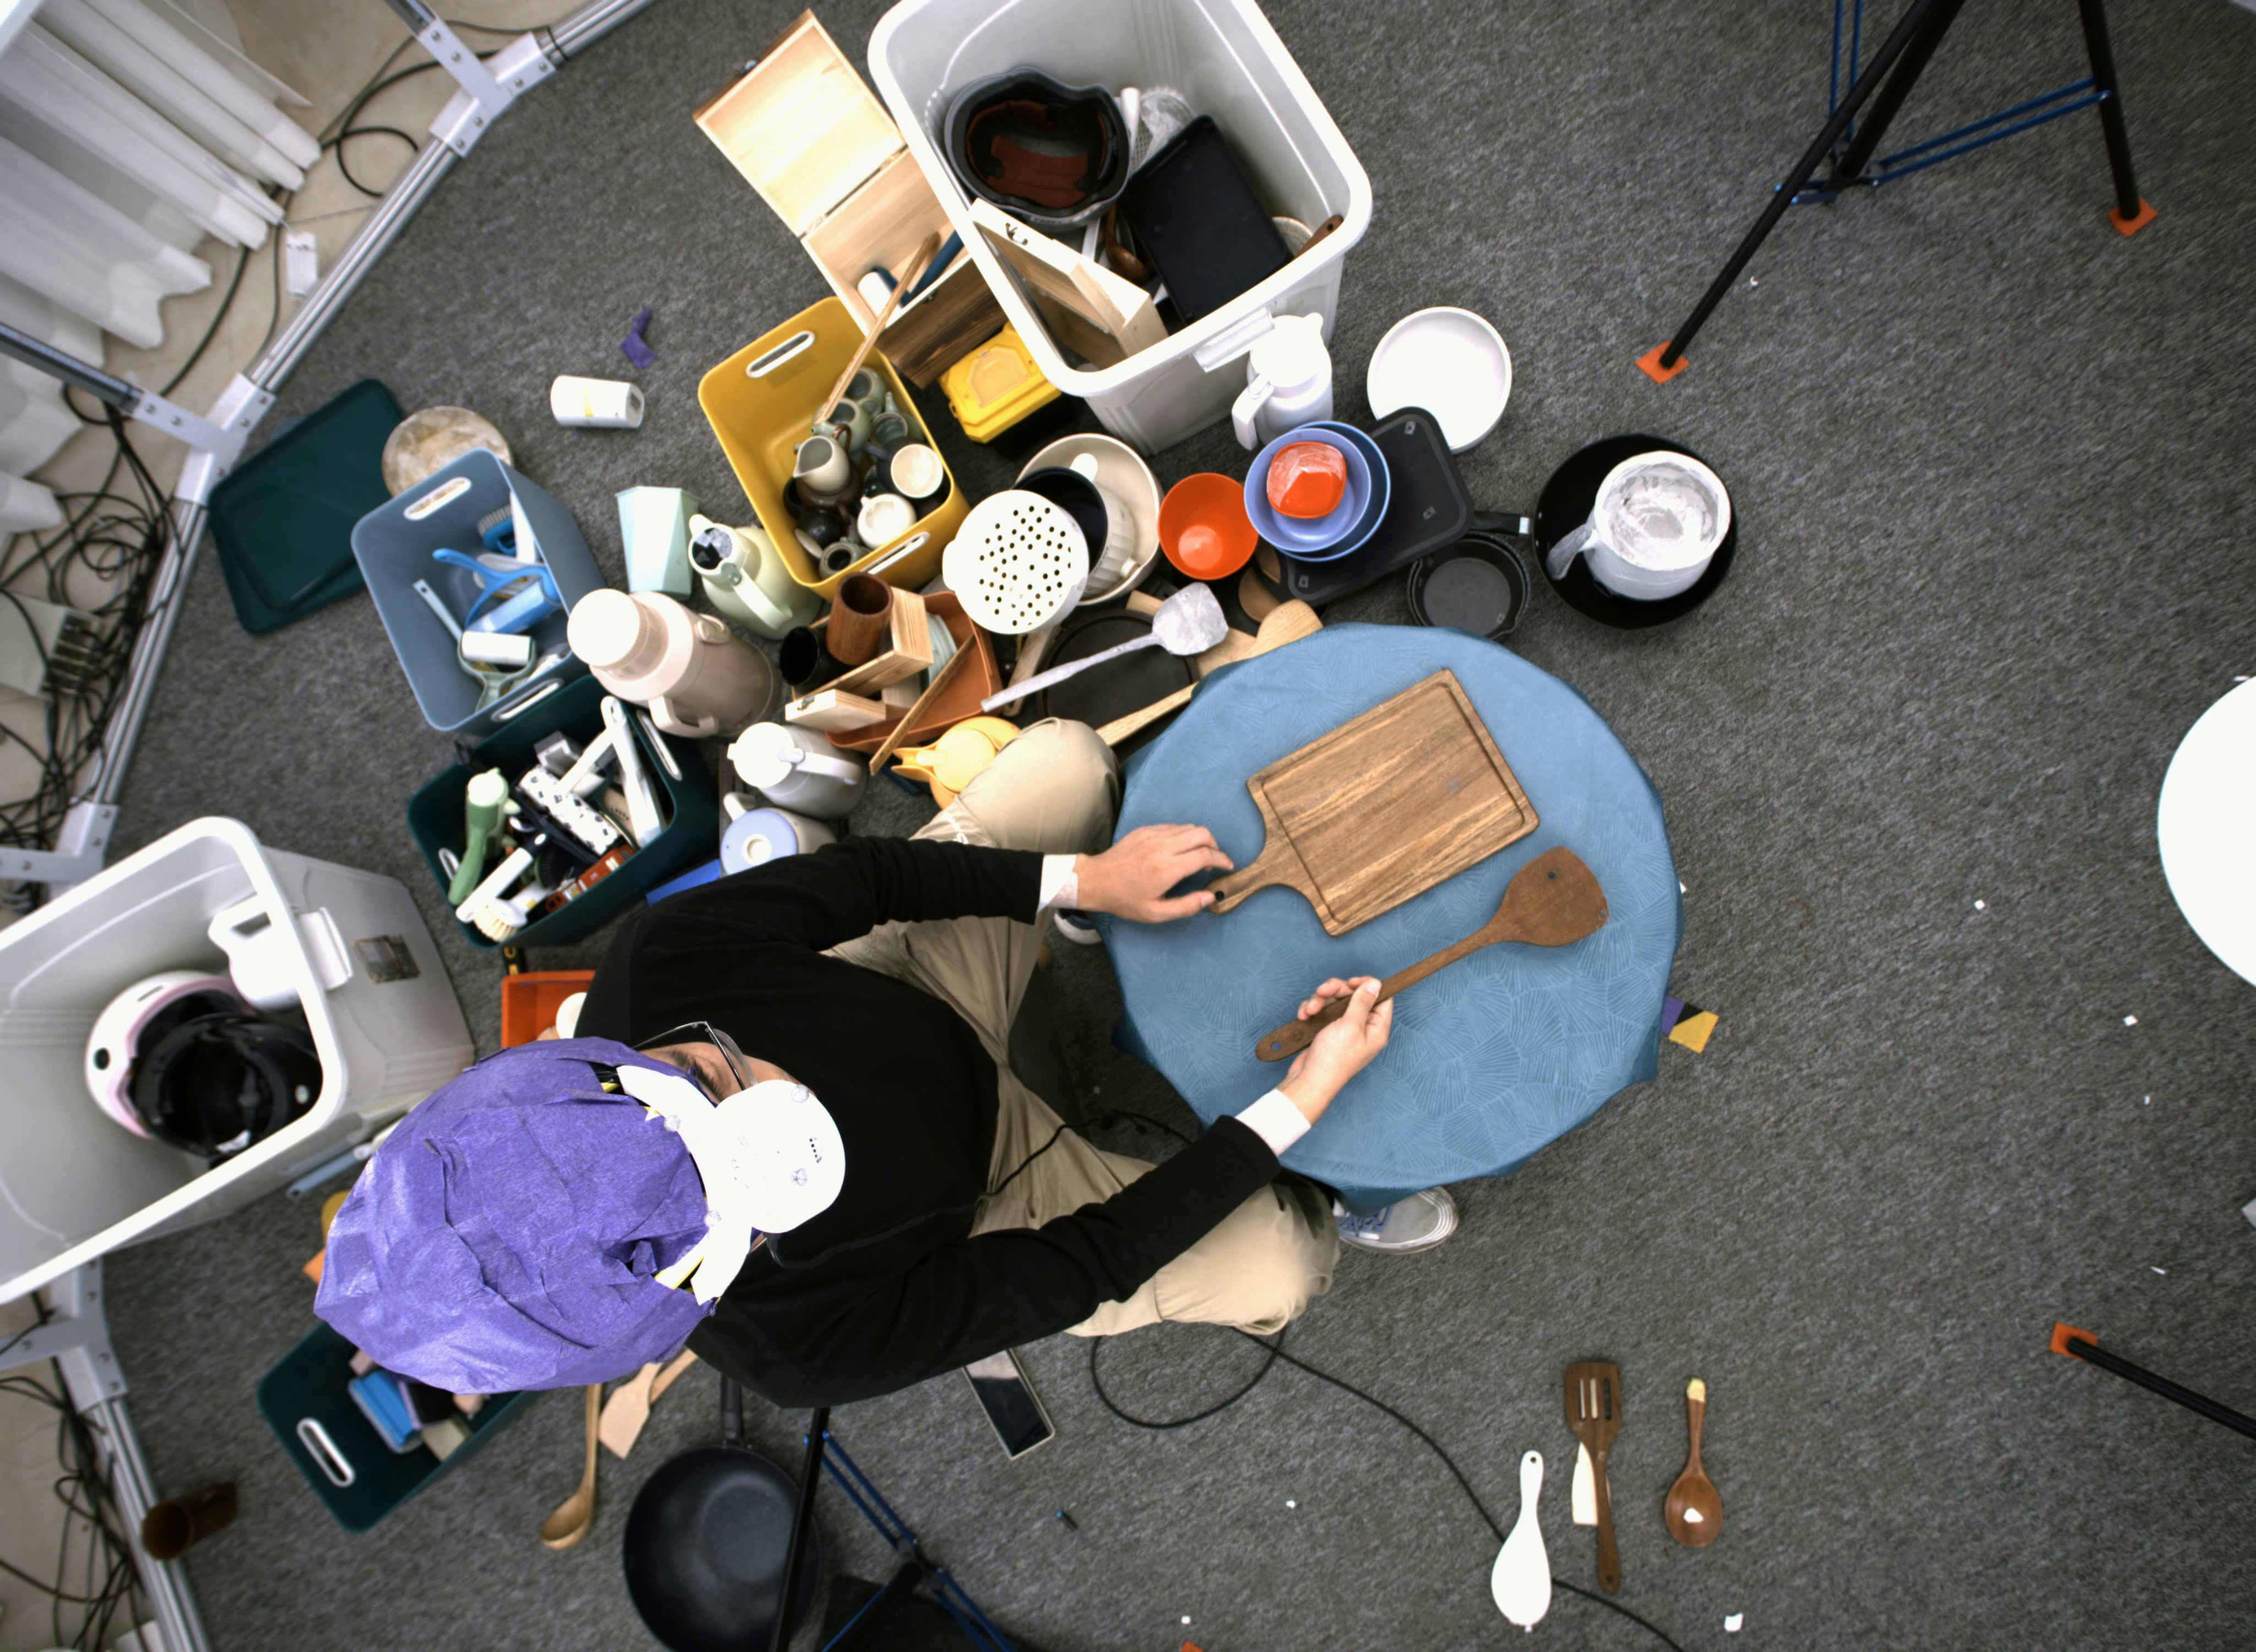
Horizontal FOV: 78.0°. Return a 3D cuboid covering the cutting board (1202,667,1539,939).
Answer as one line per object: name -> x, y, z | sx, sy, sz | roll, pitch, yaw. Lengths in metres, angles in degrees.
cutting board -> 0.233, -0.002, 1.461 | 0.354, 0.023, 0.200 | -30, 82, 8

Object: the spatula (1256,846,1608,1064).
spatula -> 0.300, 0.143, 1.396 | 0.388, 0.016, 0.095 | -29, 72, 6
